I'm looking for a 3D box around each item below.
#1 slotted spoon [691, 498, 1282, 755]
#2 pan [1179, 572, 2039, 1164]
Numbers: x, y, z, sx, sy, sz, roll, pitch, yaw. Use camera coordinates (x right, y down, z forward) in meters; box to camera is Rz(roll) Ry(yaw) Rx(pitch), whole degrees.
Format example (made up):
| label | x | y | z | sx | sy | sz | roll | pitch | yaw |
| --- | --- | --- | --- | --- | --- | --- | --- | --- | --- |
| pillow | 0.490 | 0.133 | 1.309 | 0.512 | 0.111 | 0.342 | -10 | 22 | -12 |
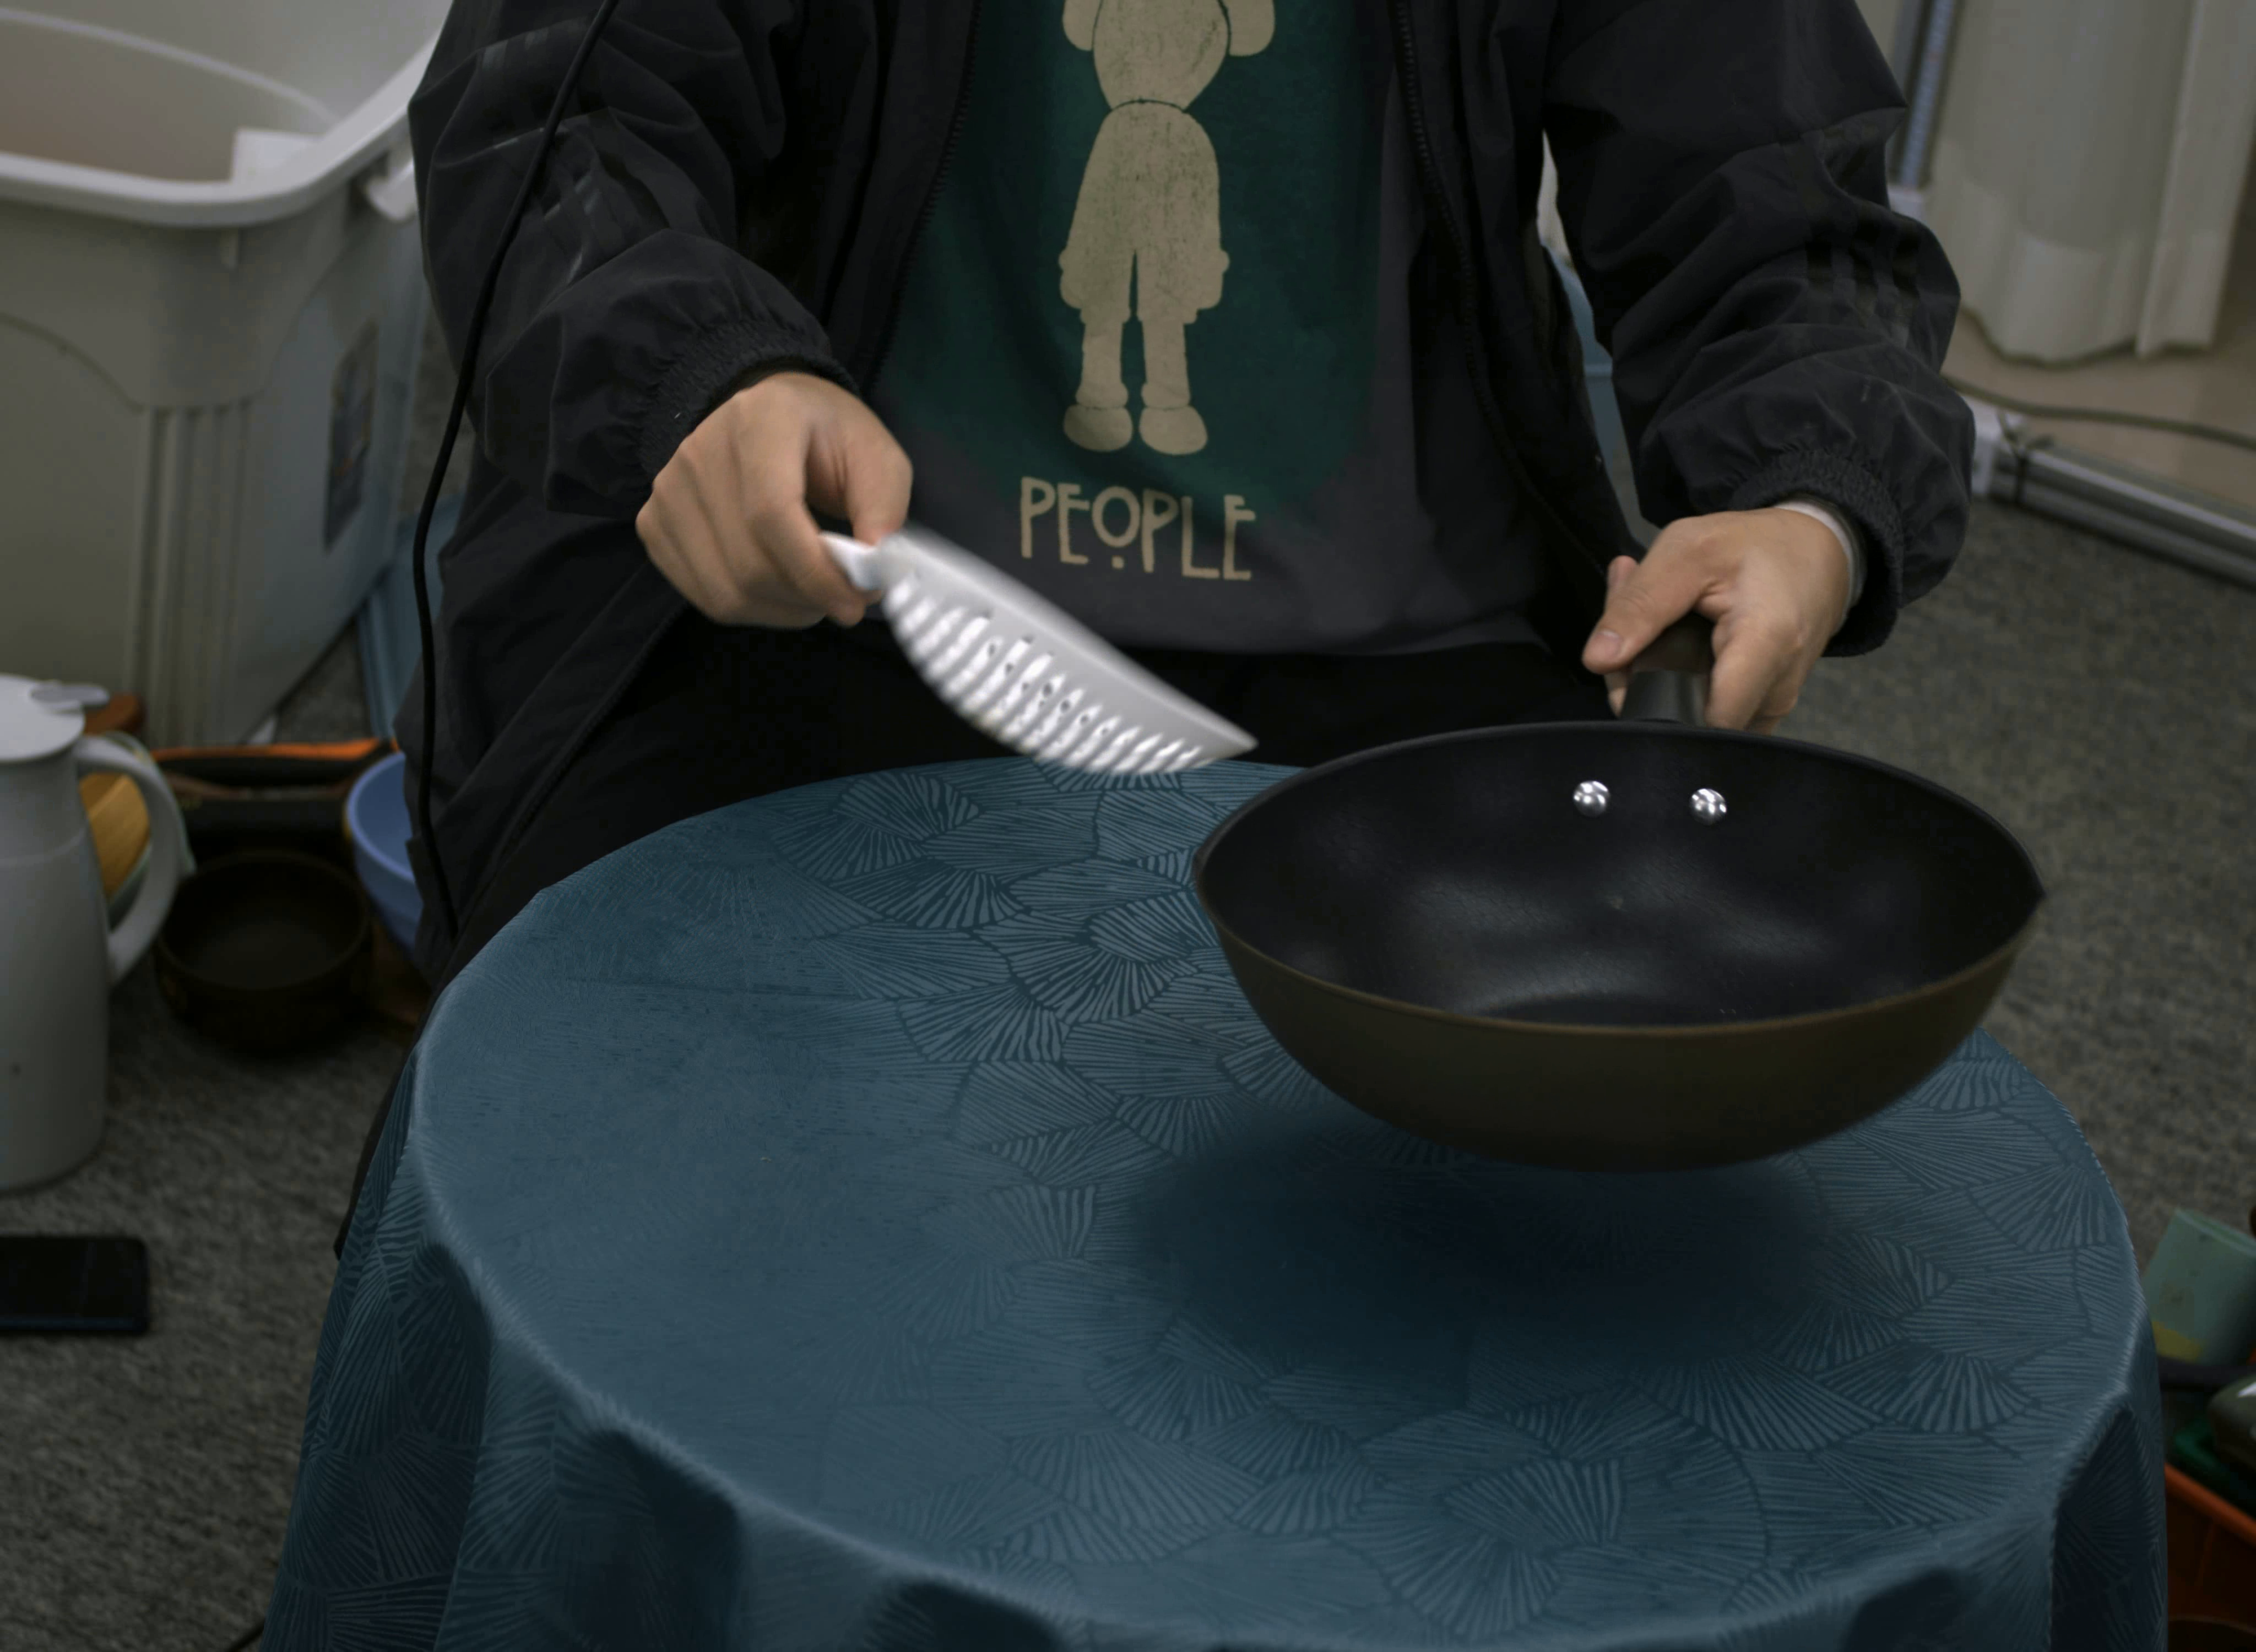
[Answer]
| label | x | y | z | sx | sy | sz | roll | pitch | yaw |
| --- | --- | --- | --- | --- | --- | --- | --- | --- | --- |
| slotted spoon | -0.067 | -0.076 | 1.813 | 0.135 | 0.050 | 0.350 | 35 | -3 | -28 |
| pan | 0.177 | 0.015 | 1.878 | 0.288 | 0.086 | 0.464 | 2 | 21 | 11 |
